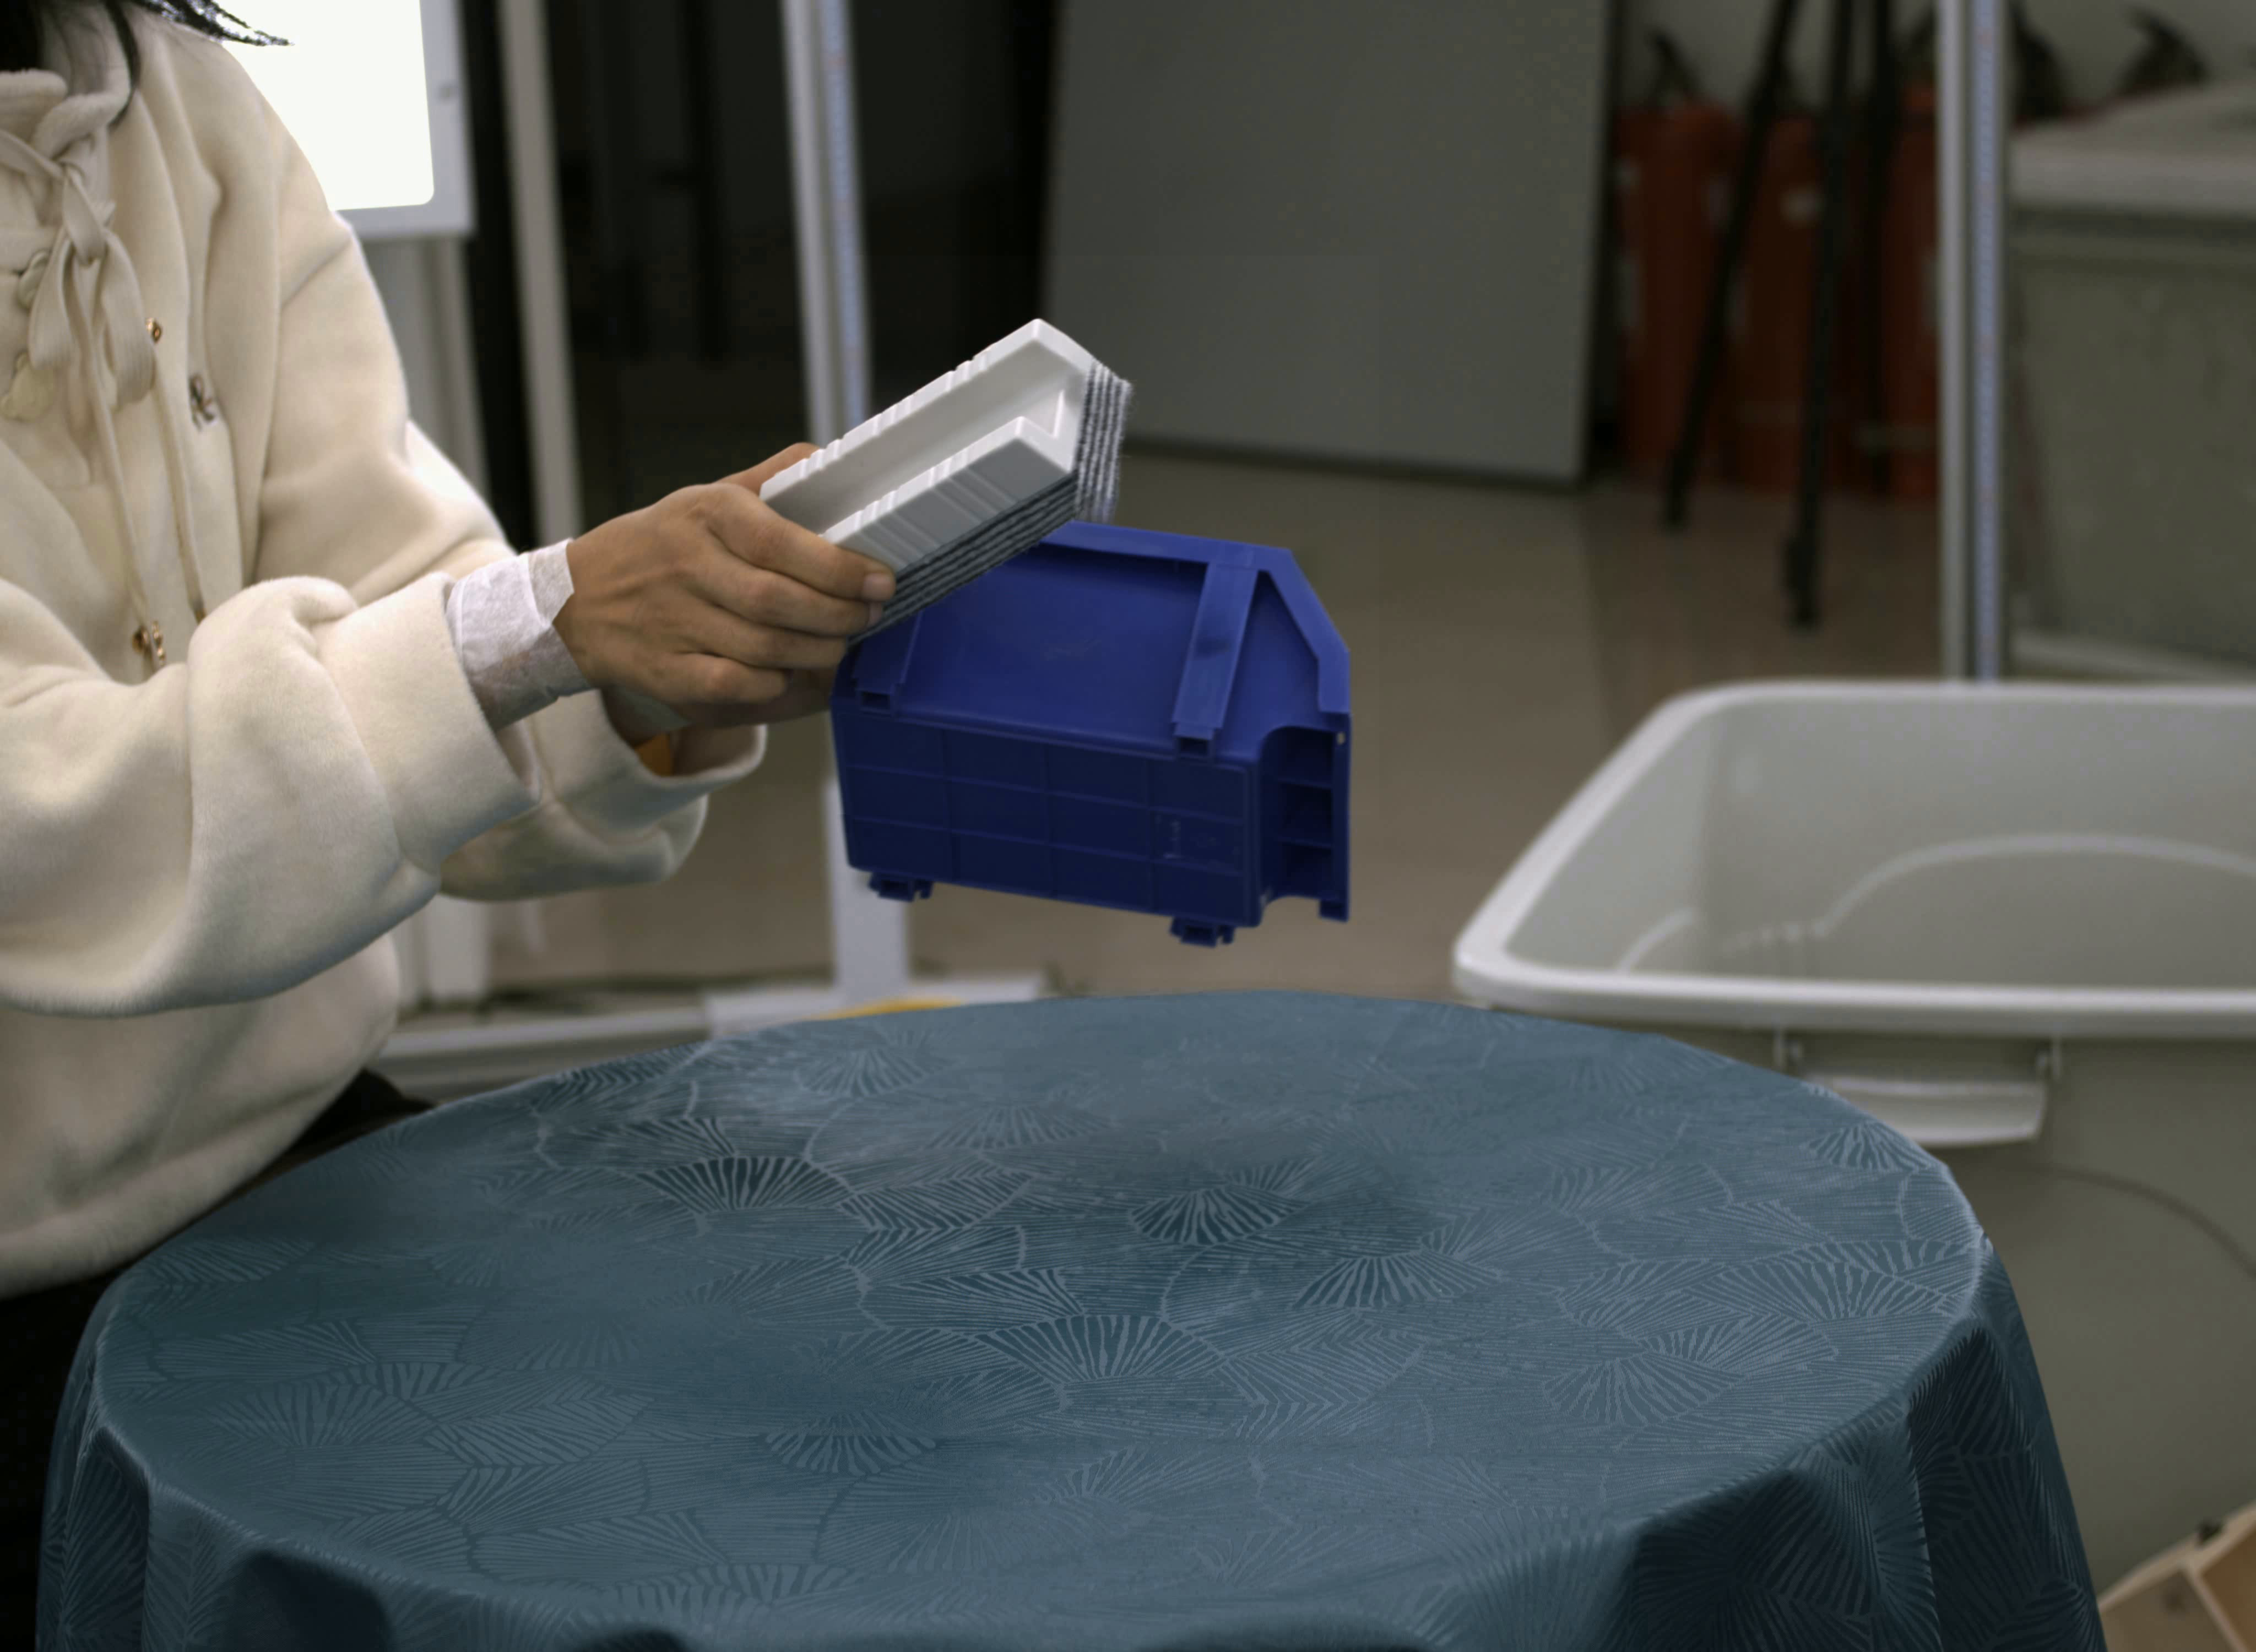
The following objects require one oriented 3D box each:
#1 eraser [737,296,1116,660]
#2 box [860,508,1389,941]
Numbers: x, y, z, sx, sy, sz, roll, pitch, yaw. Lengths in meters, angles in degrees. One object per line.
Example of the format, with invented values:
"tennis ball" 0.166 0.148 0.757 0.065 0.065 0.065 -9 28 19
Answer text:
"eraser" -0.063 -0.106 1.688 0.046 0.050 0.135 31 -43 -31
"box" 0.000 -0.033 1.771 0.178 0.124 0.082 5 55 10
